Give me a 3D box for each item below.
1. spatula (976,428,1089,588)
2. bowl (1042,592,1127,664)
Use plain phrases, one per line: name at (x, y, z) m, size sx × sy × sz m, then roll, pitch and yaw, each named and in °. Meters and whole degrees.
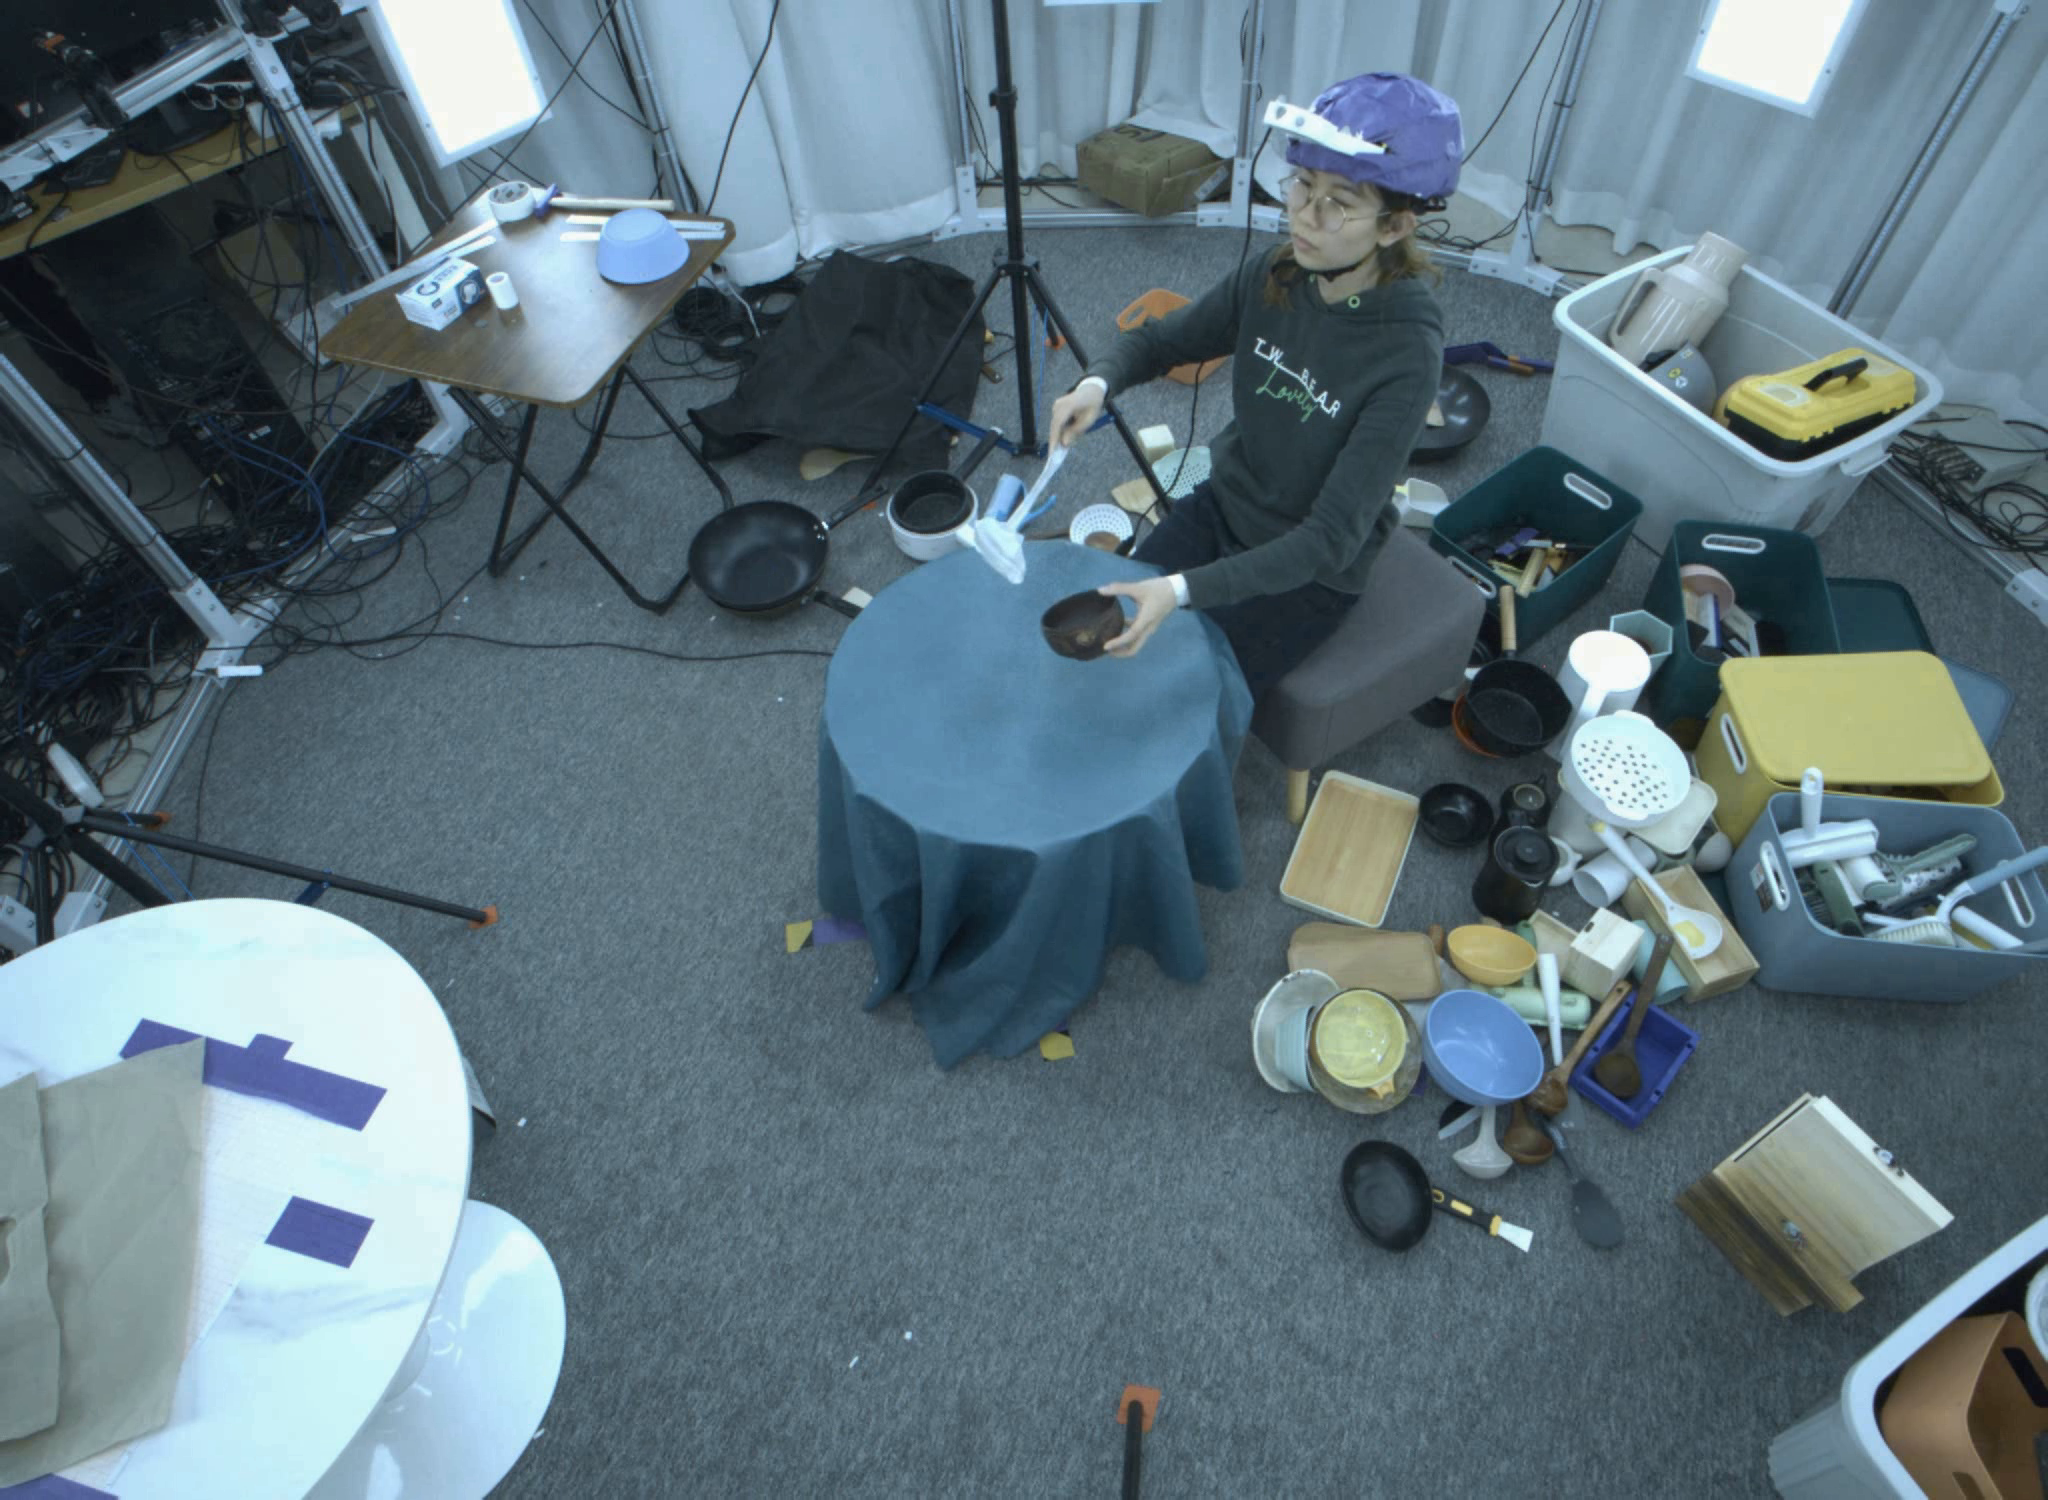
spatula at (0.026, -0.377, 1.791) m, size 0.100 × 0.044 × 0.365 m, roll 43°, pitch 57°, yaw -21°
bowl at (0.090, -0.164, 1.734) m, size 0.117 × 0.071 × 0.117 m, roll -15°, pitch 32°, yaw 11°
